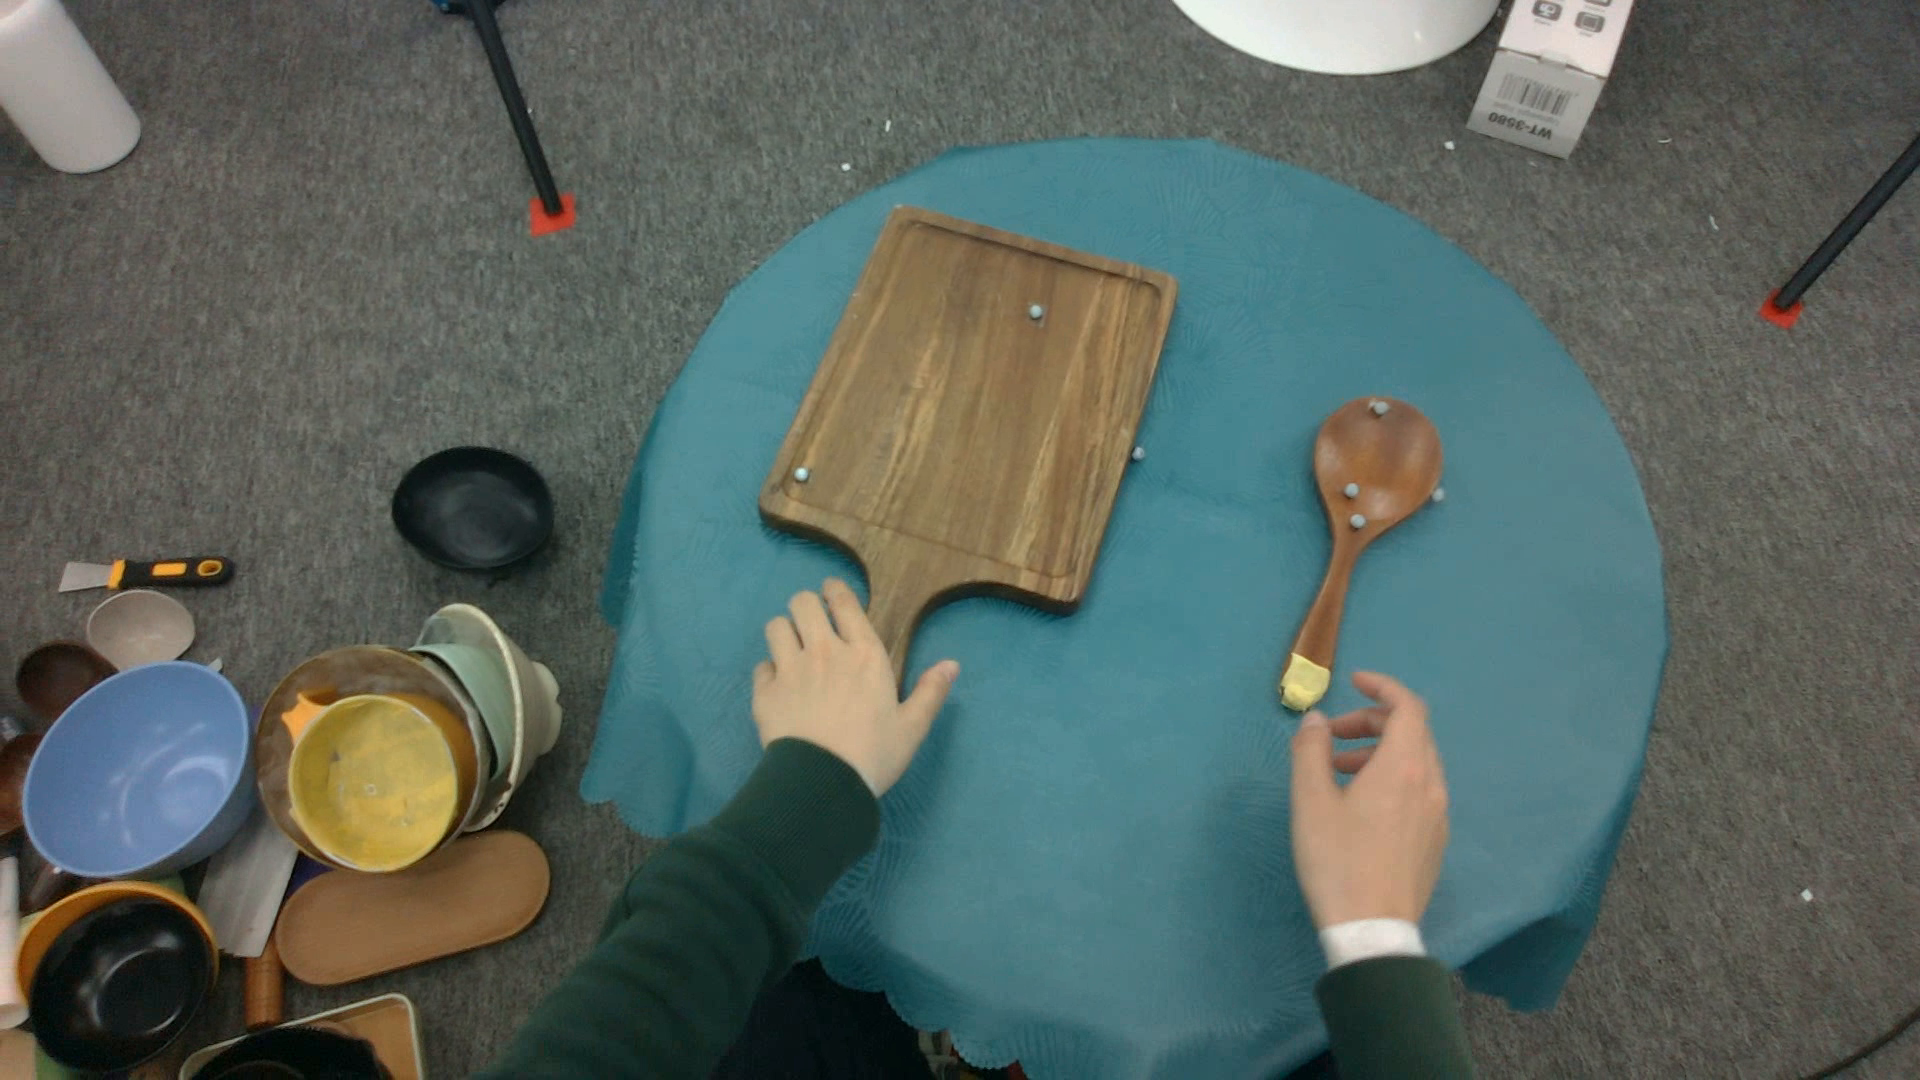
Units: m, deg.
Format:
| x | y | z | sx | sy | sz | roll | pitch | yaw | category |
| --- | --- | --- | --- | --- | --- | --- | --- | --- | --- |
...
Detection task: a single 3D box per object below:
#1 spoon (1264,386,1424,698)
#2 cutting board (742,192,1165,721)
| x | y | z | sx | sy | sz | roll | pitch | yaw | category |
| --- | --- | --- | --- | --- | --- | --- | --- | --- | --- |
| 0.215 | -0.002 | 0.795 | 0.075 | 0.017 | 0.217 | 22 | 61 | 7 | spoon |
| -0.012 | -0.055 | 0.814 | 0.201 | 0.023 | 0.354 | 17 | 62 | 6 | cutting board |
